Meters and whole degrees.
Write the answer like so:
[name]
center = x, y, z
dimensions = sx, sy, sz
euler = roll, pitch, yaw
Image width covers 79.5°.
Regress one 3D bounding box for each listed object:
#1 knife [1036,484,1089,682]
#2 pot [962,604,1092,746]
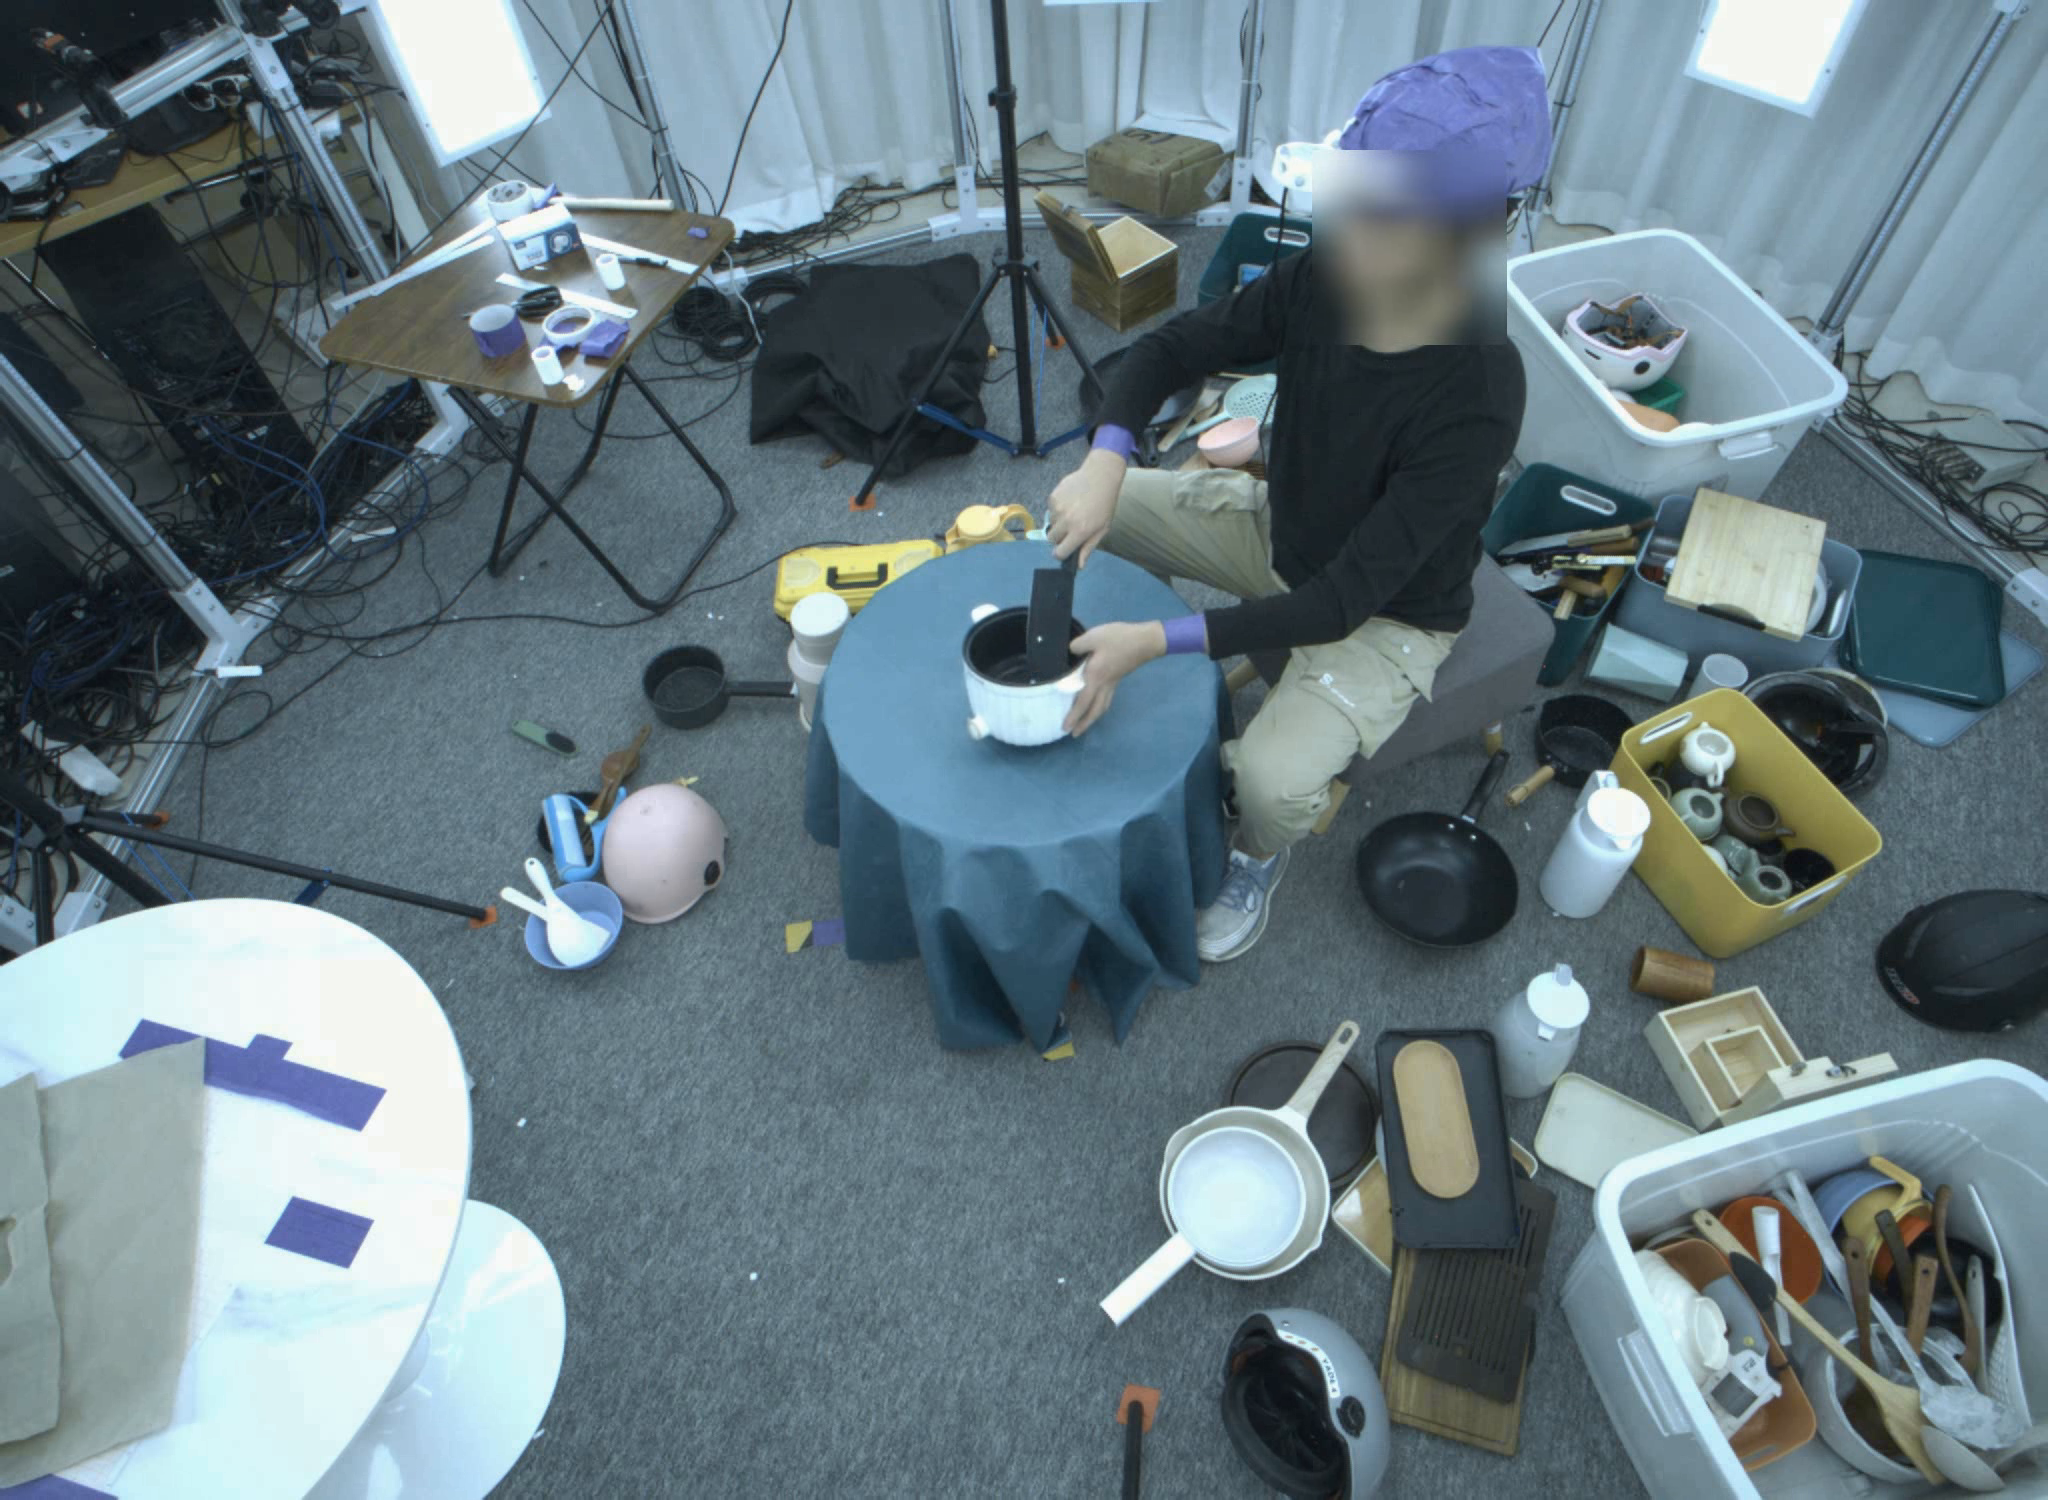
[knife]
center = 0.053, -0.226, 1.730
dimensions = 0.079, 0.021, 0.302
euler = 8, 91, 23
[pot]
center = 0.002, -0.097, 1.755
dimensions = 0.193, 0.144, 0.235
euler = -27, 48, -27
